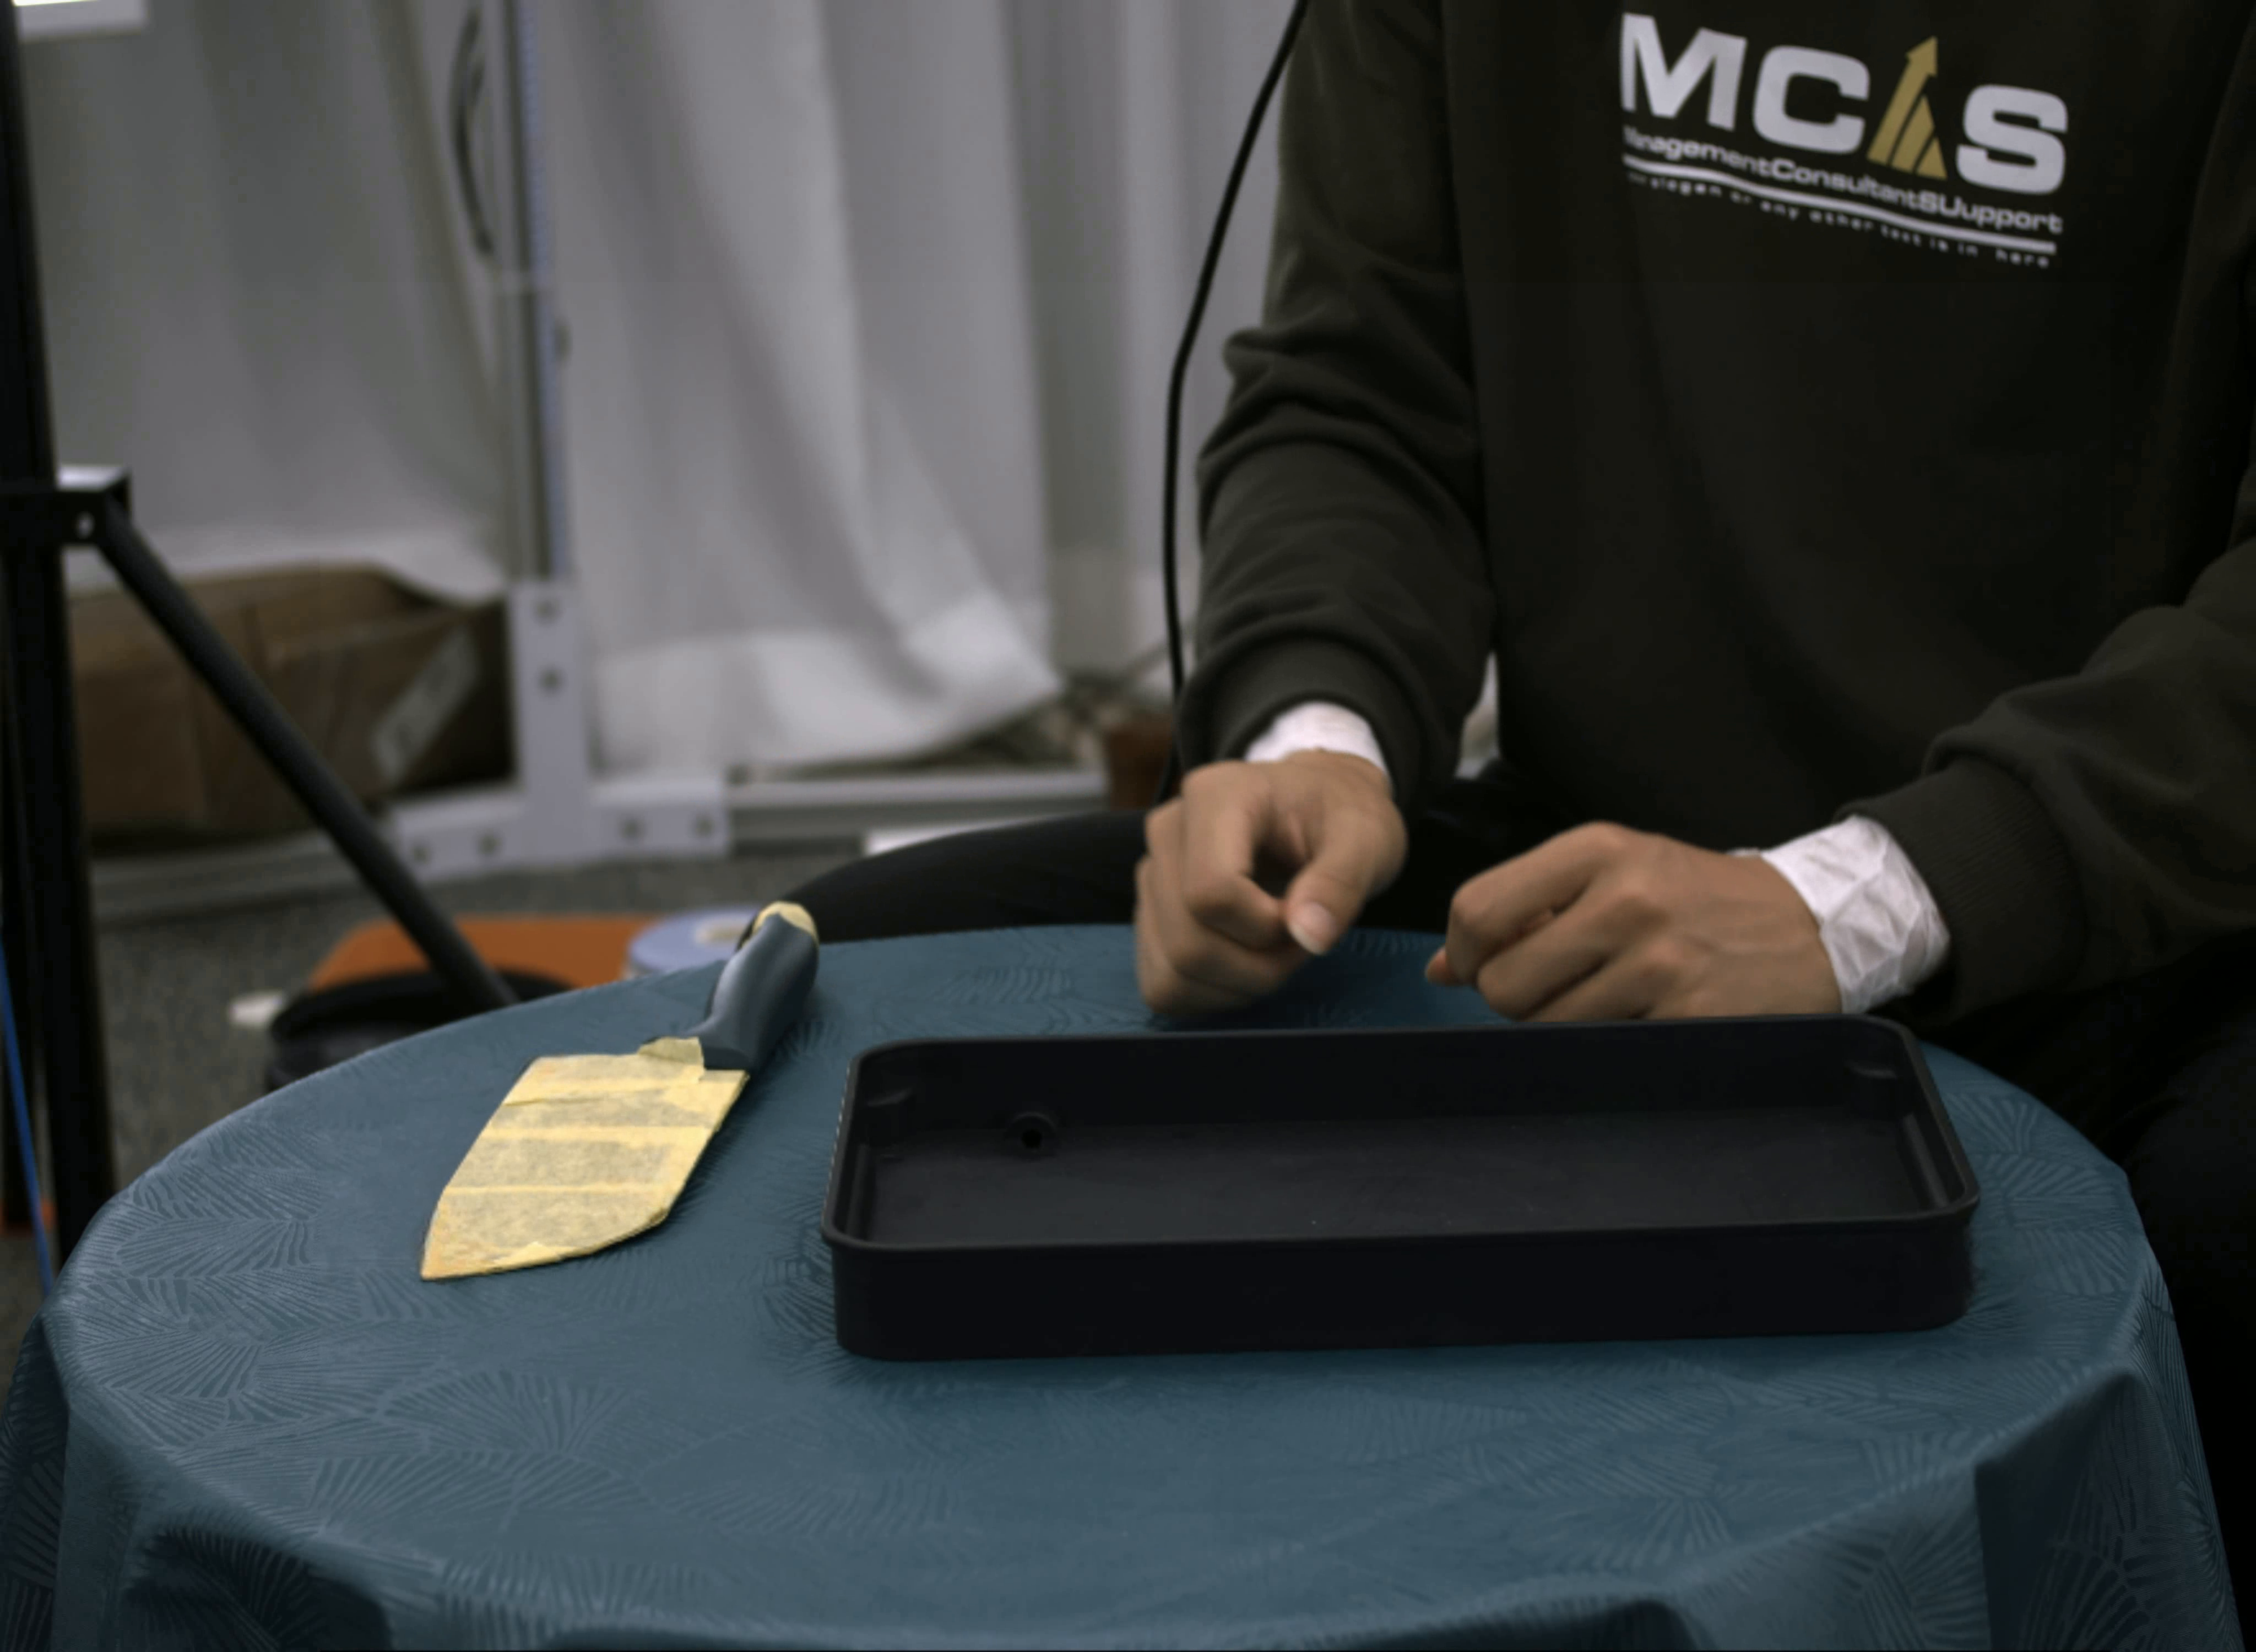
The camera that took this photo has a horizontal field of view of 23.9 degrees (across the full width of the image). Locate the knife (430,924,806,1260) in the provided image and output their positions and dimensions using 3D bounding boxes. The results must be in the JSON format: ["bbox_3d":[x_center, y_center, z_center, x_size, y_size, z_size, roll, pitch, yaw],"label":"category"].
[{"bbox_3d":[-0.153,0.082,1.650,0.081,0.027,0.288,2,17,12],"label":"knife"}]

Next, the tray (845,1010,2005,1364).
[{"bbox_3d":[0.080,0.100,1.510,0.317,0.037,0.185,-2,15,1],"label":"tray"}]
